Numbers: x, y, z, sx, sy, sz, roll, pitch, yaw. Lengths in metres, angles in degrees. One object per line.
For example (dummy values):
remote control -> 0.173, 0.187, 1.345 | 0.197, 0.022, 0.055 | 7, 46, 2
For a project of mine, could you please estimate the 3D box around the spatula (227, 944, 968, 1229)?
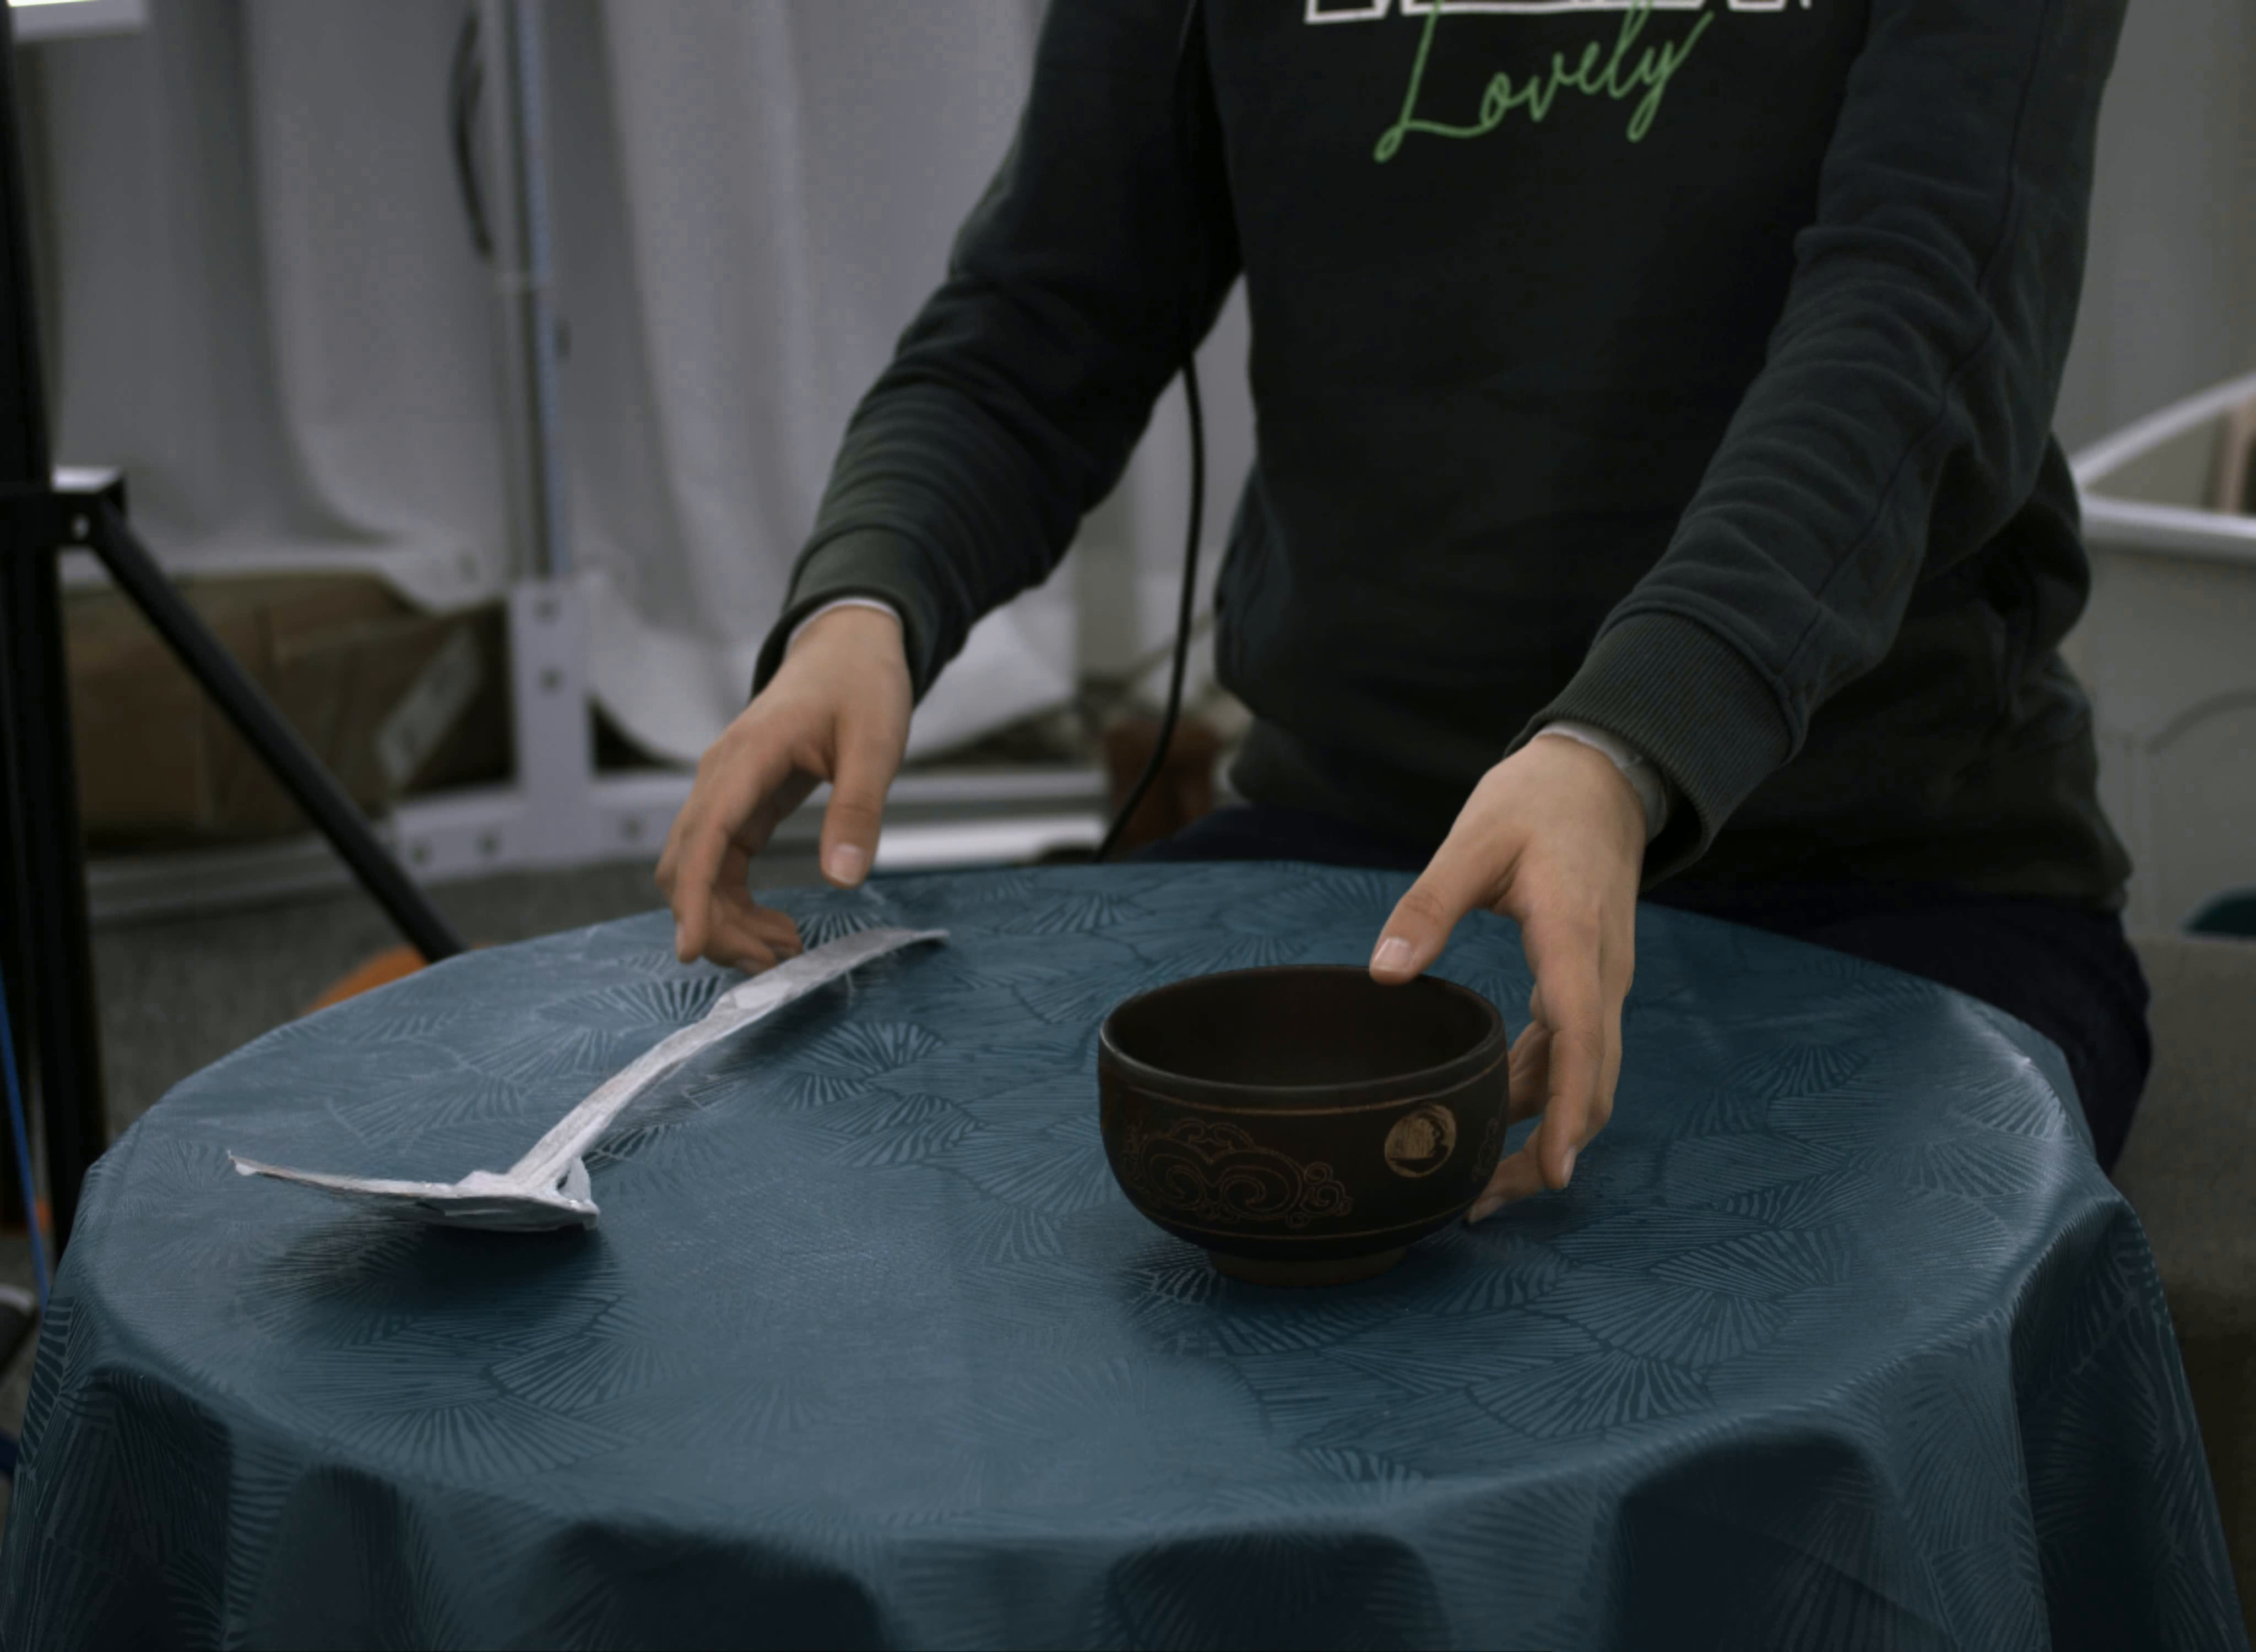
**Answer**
spatula -> -0.142, 0.070, 1.644 | 0.100, 0.045, 0.359 | 3, 17, 26

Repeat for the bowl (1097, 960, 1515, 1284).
bowl -> 0.050, 0.087, 1.492 | 0.117, 0.070, 0.118 | -1, 15, -1
